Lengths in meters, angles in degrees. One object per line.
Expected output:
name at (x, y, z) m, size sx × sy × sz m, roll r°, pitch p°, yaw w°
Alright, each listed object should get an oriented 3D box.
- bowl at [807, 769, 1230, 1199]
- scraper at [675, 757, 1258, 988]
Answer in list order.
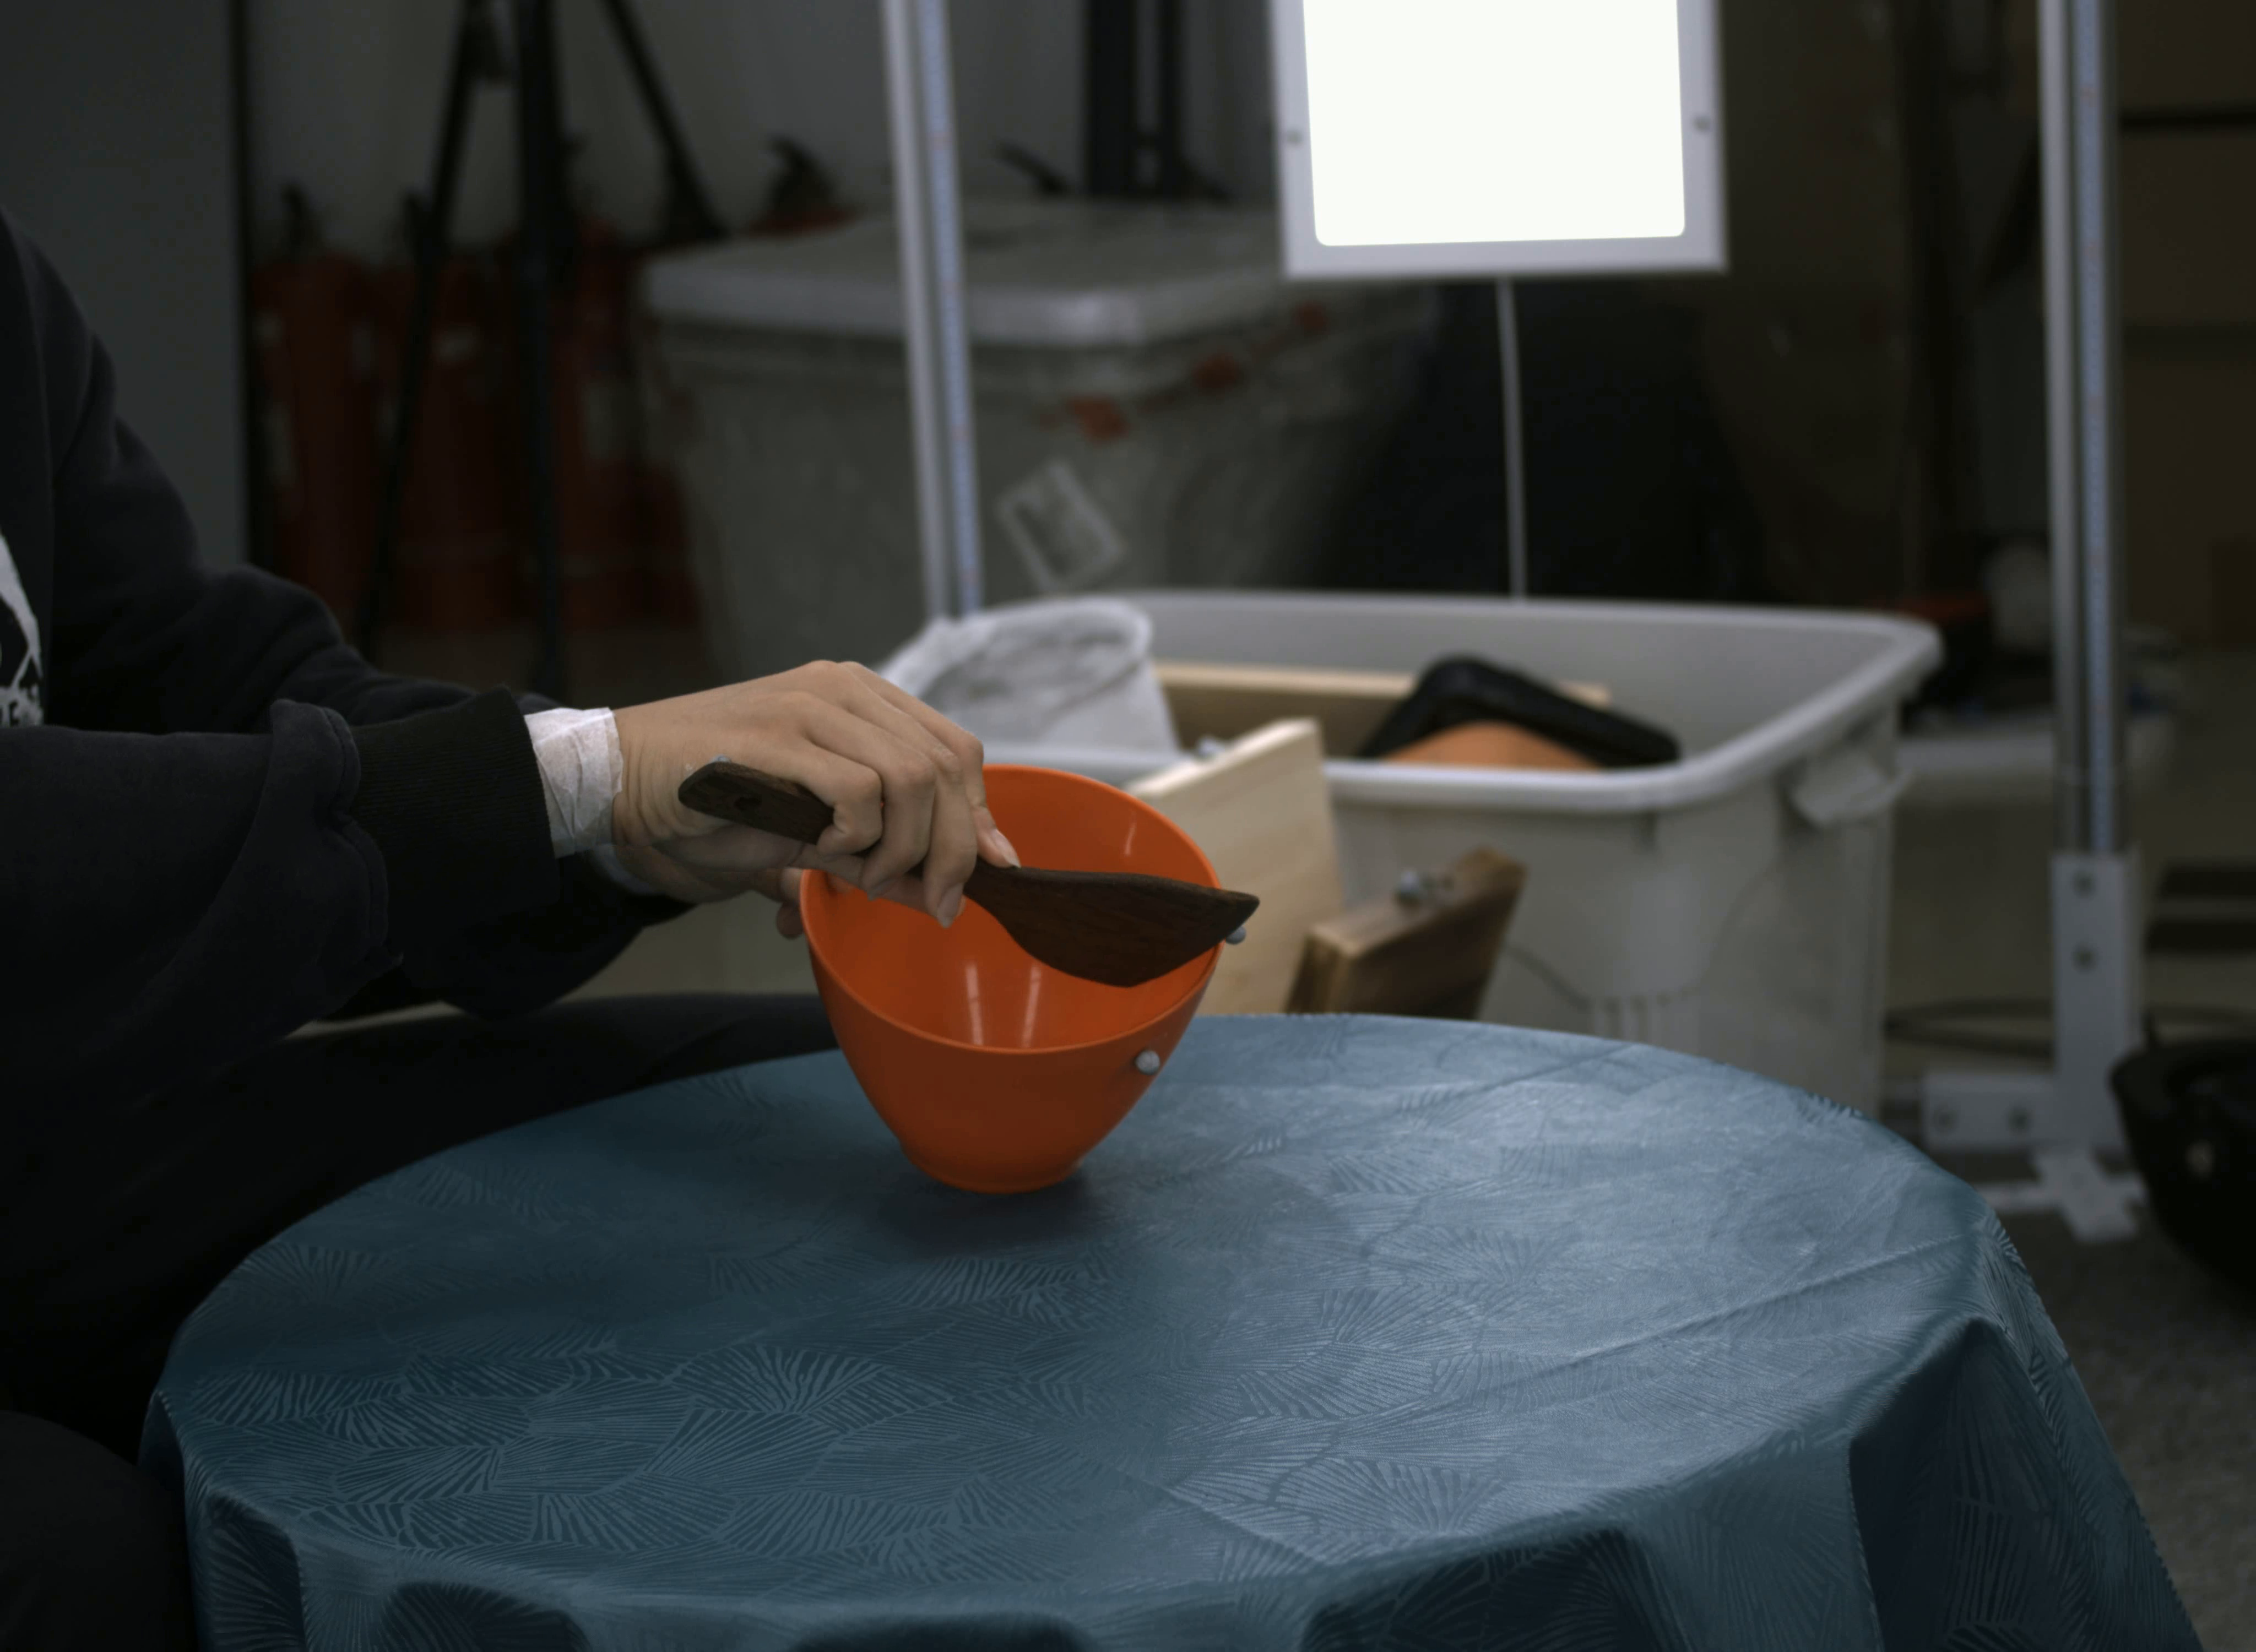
bowl at (-0.041, 0.062, 1.917) m, size 0.147 × 0.105 × 0.147 m, roll 3°, pitch 31°, yaw -3°
scraper at (-0.057, 0.013, 1.836) m, size 0.207 × 0.011 × 0.077 m, roll 19°, pitch -36°, yaw -28°
